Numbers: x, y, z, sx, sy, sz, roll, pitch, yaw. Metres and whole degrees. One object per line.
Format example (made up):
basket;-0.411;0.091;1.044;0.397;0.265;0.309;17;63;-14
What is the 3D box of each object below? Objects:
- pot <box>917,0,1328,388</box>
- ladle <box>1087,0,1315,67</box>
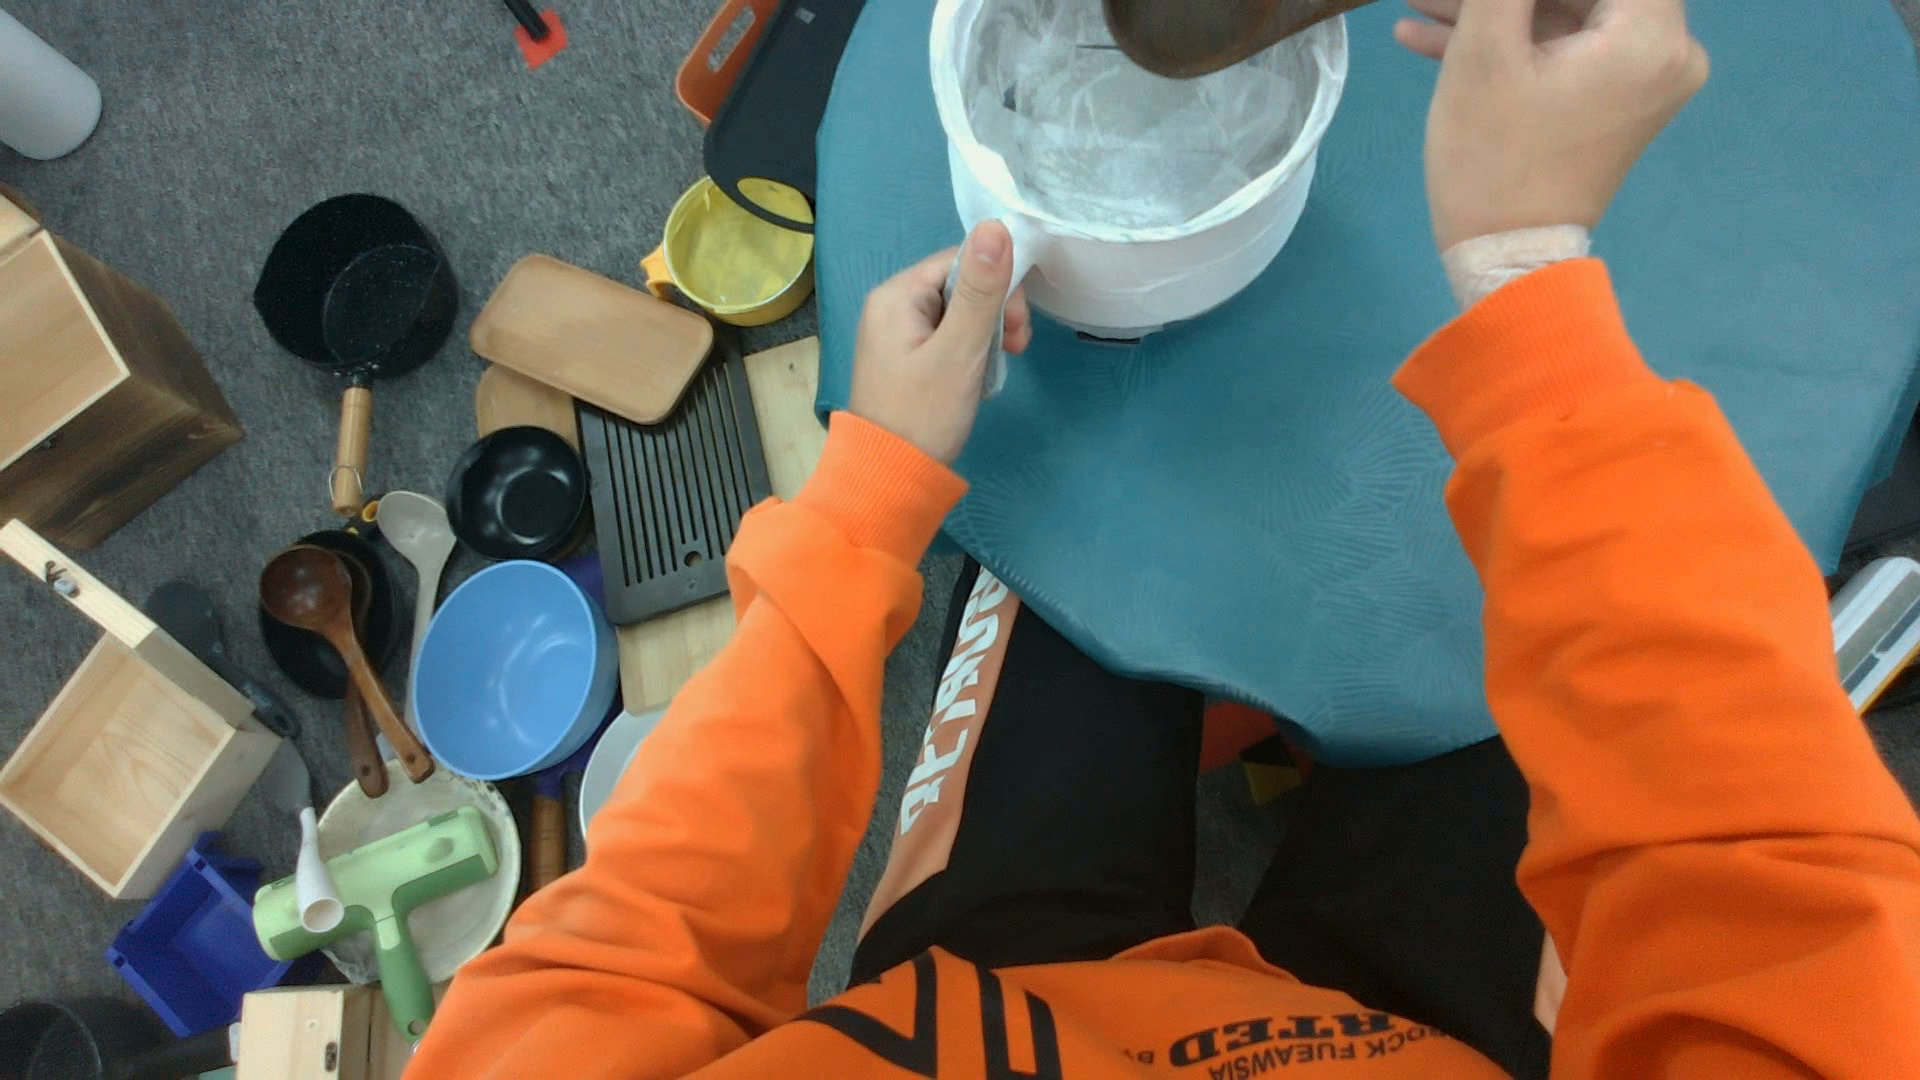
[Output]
pot;0.058;-0.180;0.650;0.179;0.136;0.234;34;82;11
ladle;0.155;-0.224;0.506;0.274;0.071;0.076;17;100;53
